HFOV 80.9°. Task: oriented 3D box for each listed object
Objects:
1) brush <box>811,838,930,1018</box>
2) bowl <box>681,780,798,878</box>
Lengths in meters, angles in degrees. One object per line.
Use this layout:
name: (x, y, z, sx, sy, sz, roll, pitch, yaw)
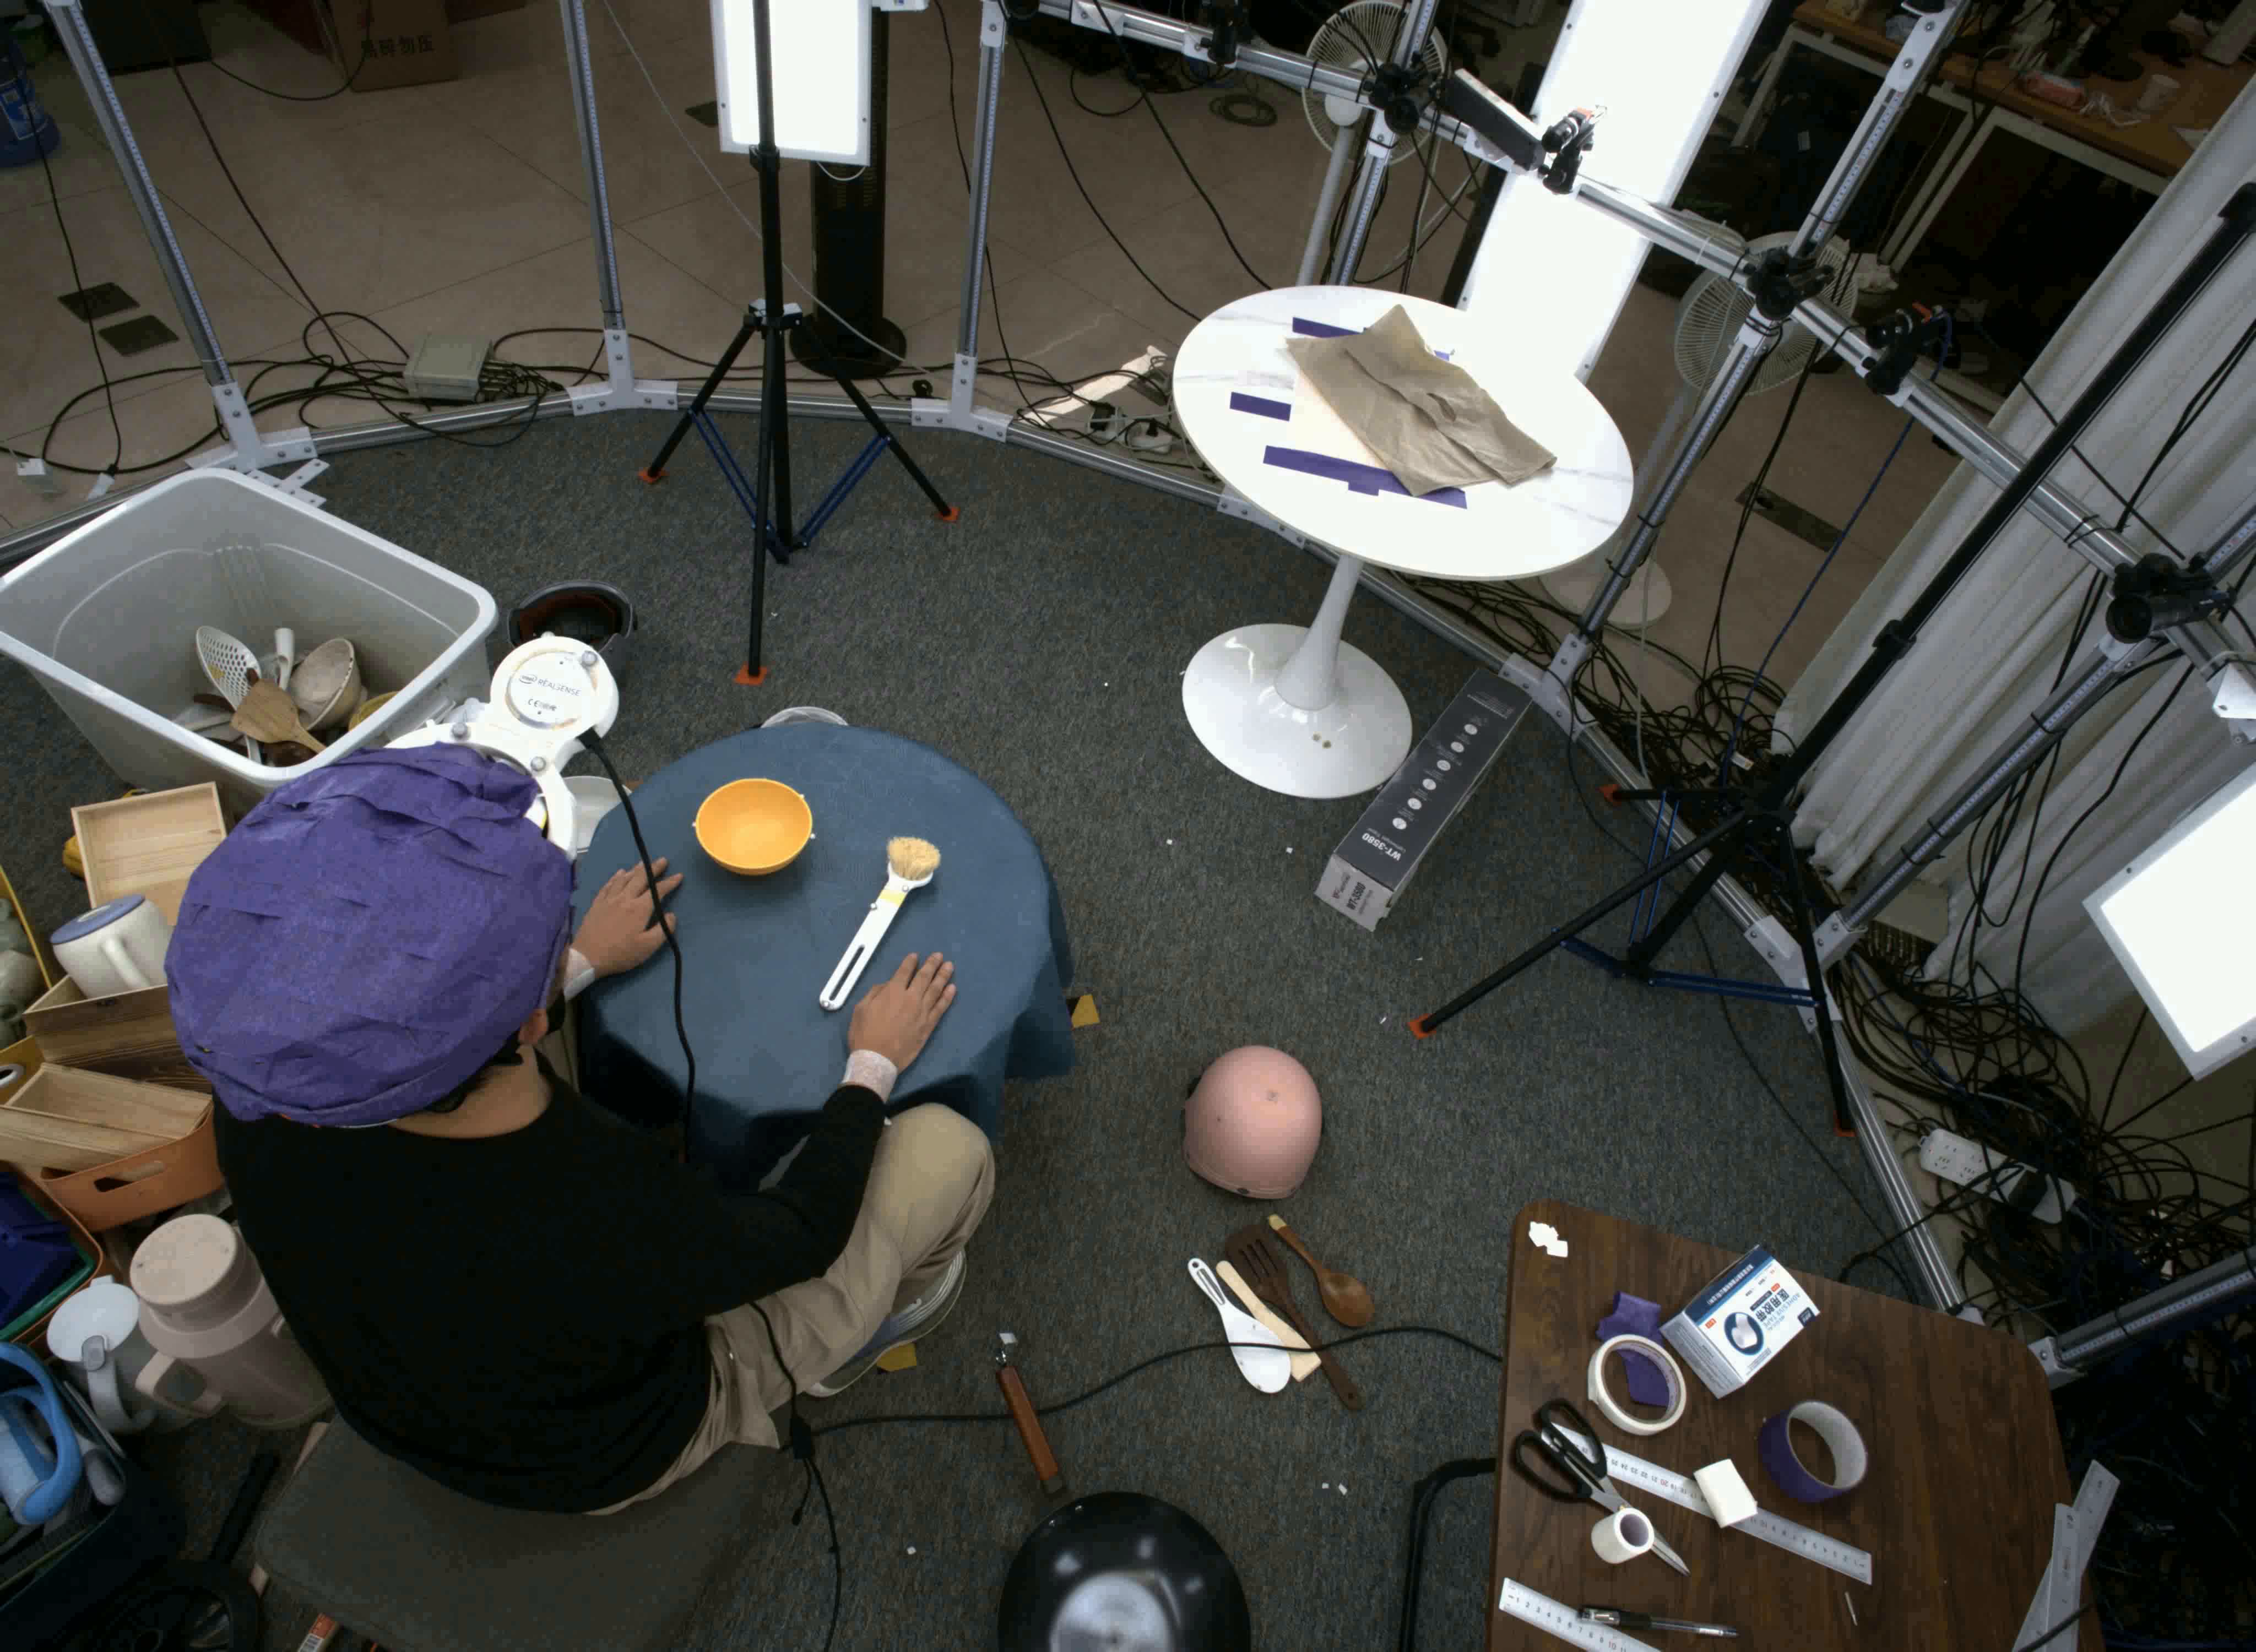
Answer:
brush: (-0.325, 0.117, 1.623, 0.067, 0.057, 0.264, 20, 52, 9)
bowl: (-0.493, 0.014, 1.652, 0.145, 0.061, 0.143, 7, 53, -7)
